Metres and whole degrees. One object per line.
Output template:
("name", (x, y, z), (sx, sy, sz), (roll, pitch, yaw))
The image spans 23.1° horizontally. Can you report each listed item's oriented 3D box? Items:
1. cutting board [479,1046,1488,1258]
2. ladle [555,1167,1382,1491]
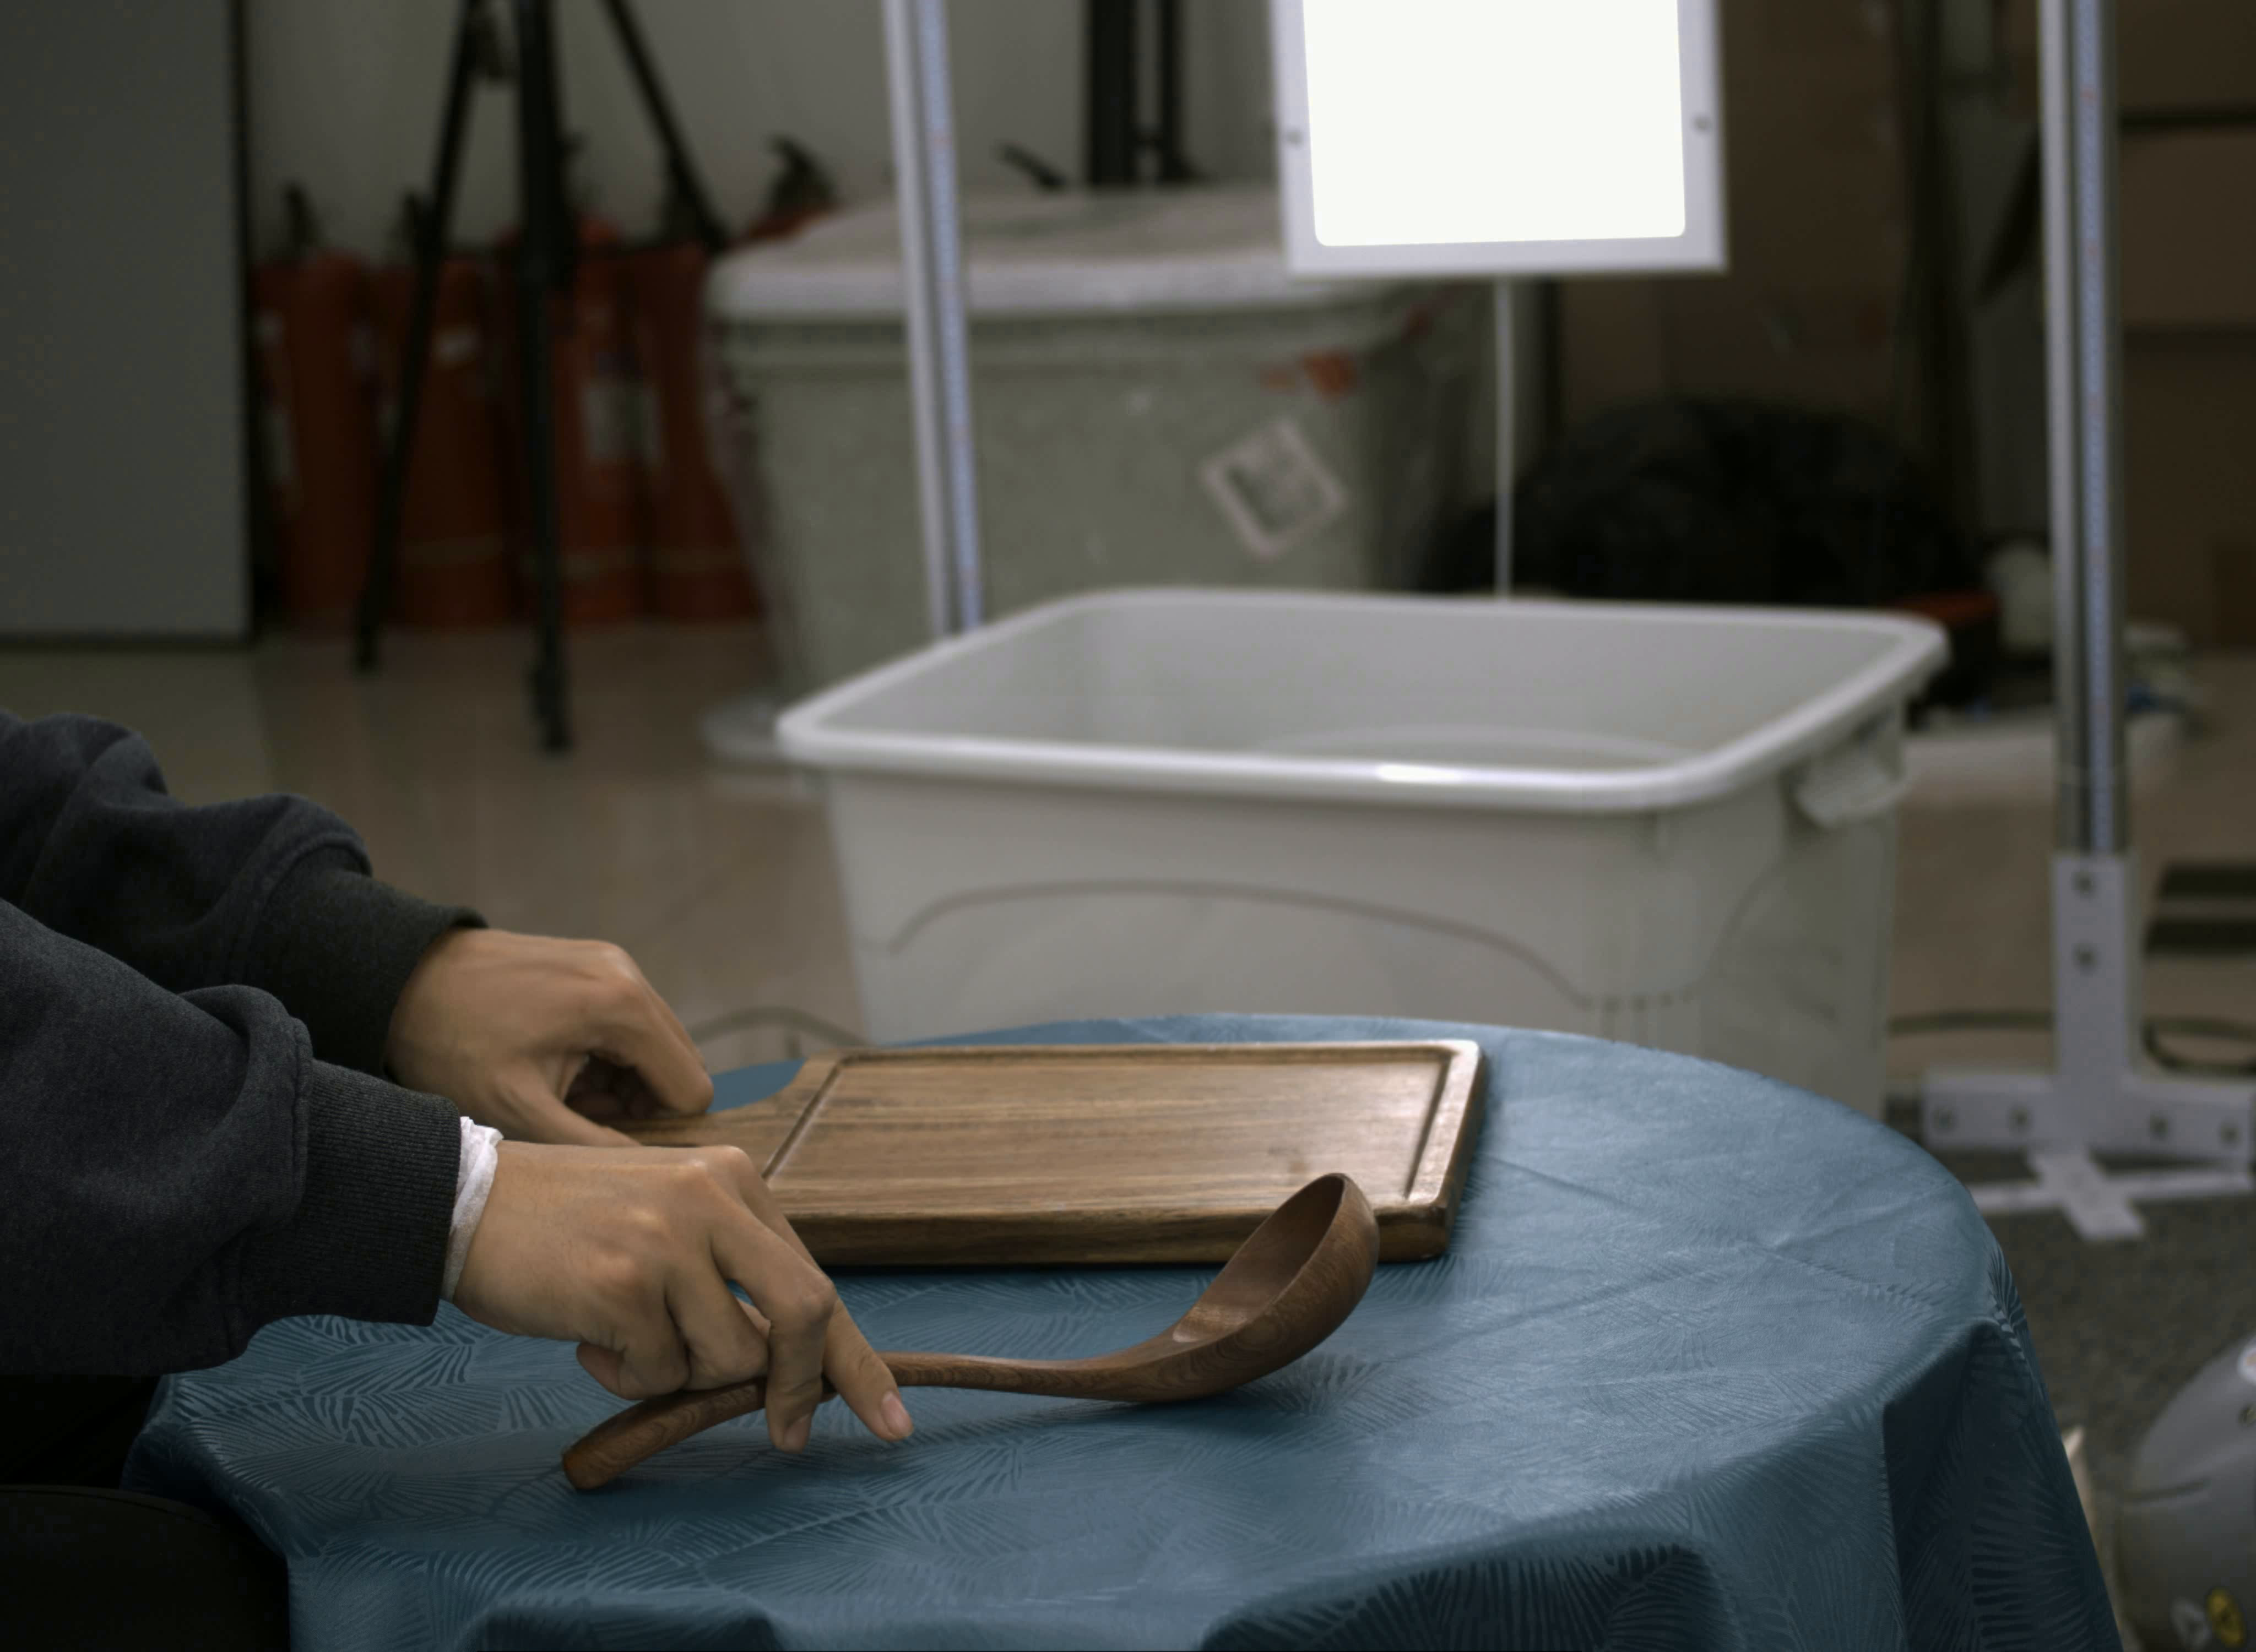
("cutting board", (-0.054, 0.112, 1.916), (0.354, 0.023, 0.199), (-1, 13, 10))
("ladle", (-0.048, 0.152, 1.675), (0.258, 0.065, 0.077), (-7, 1, -8))
